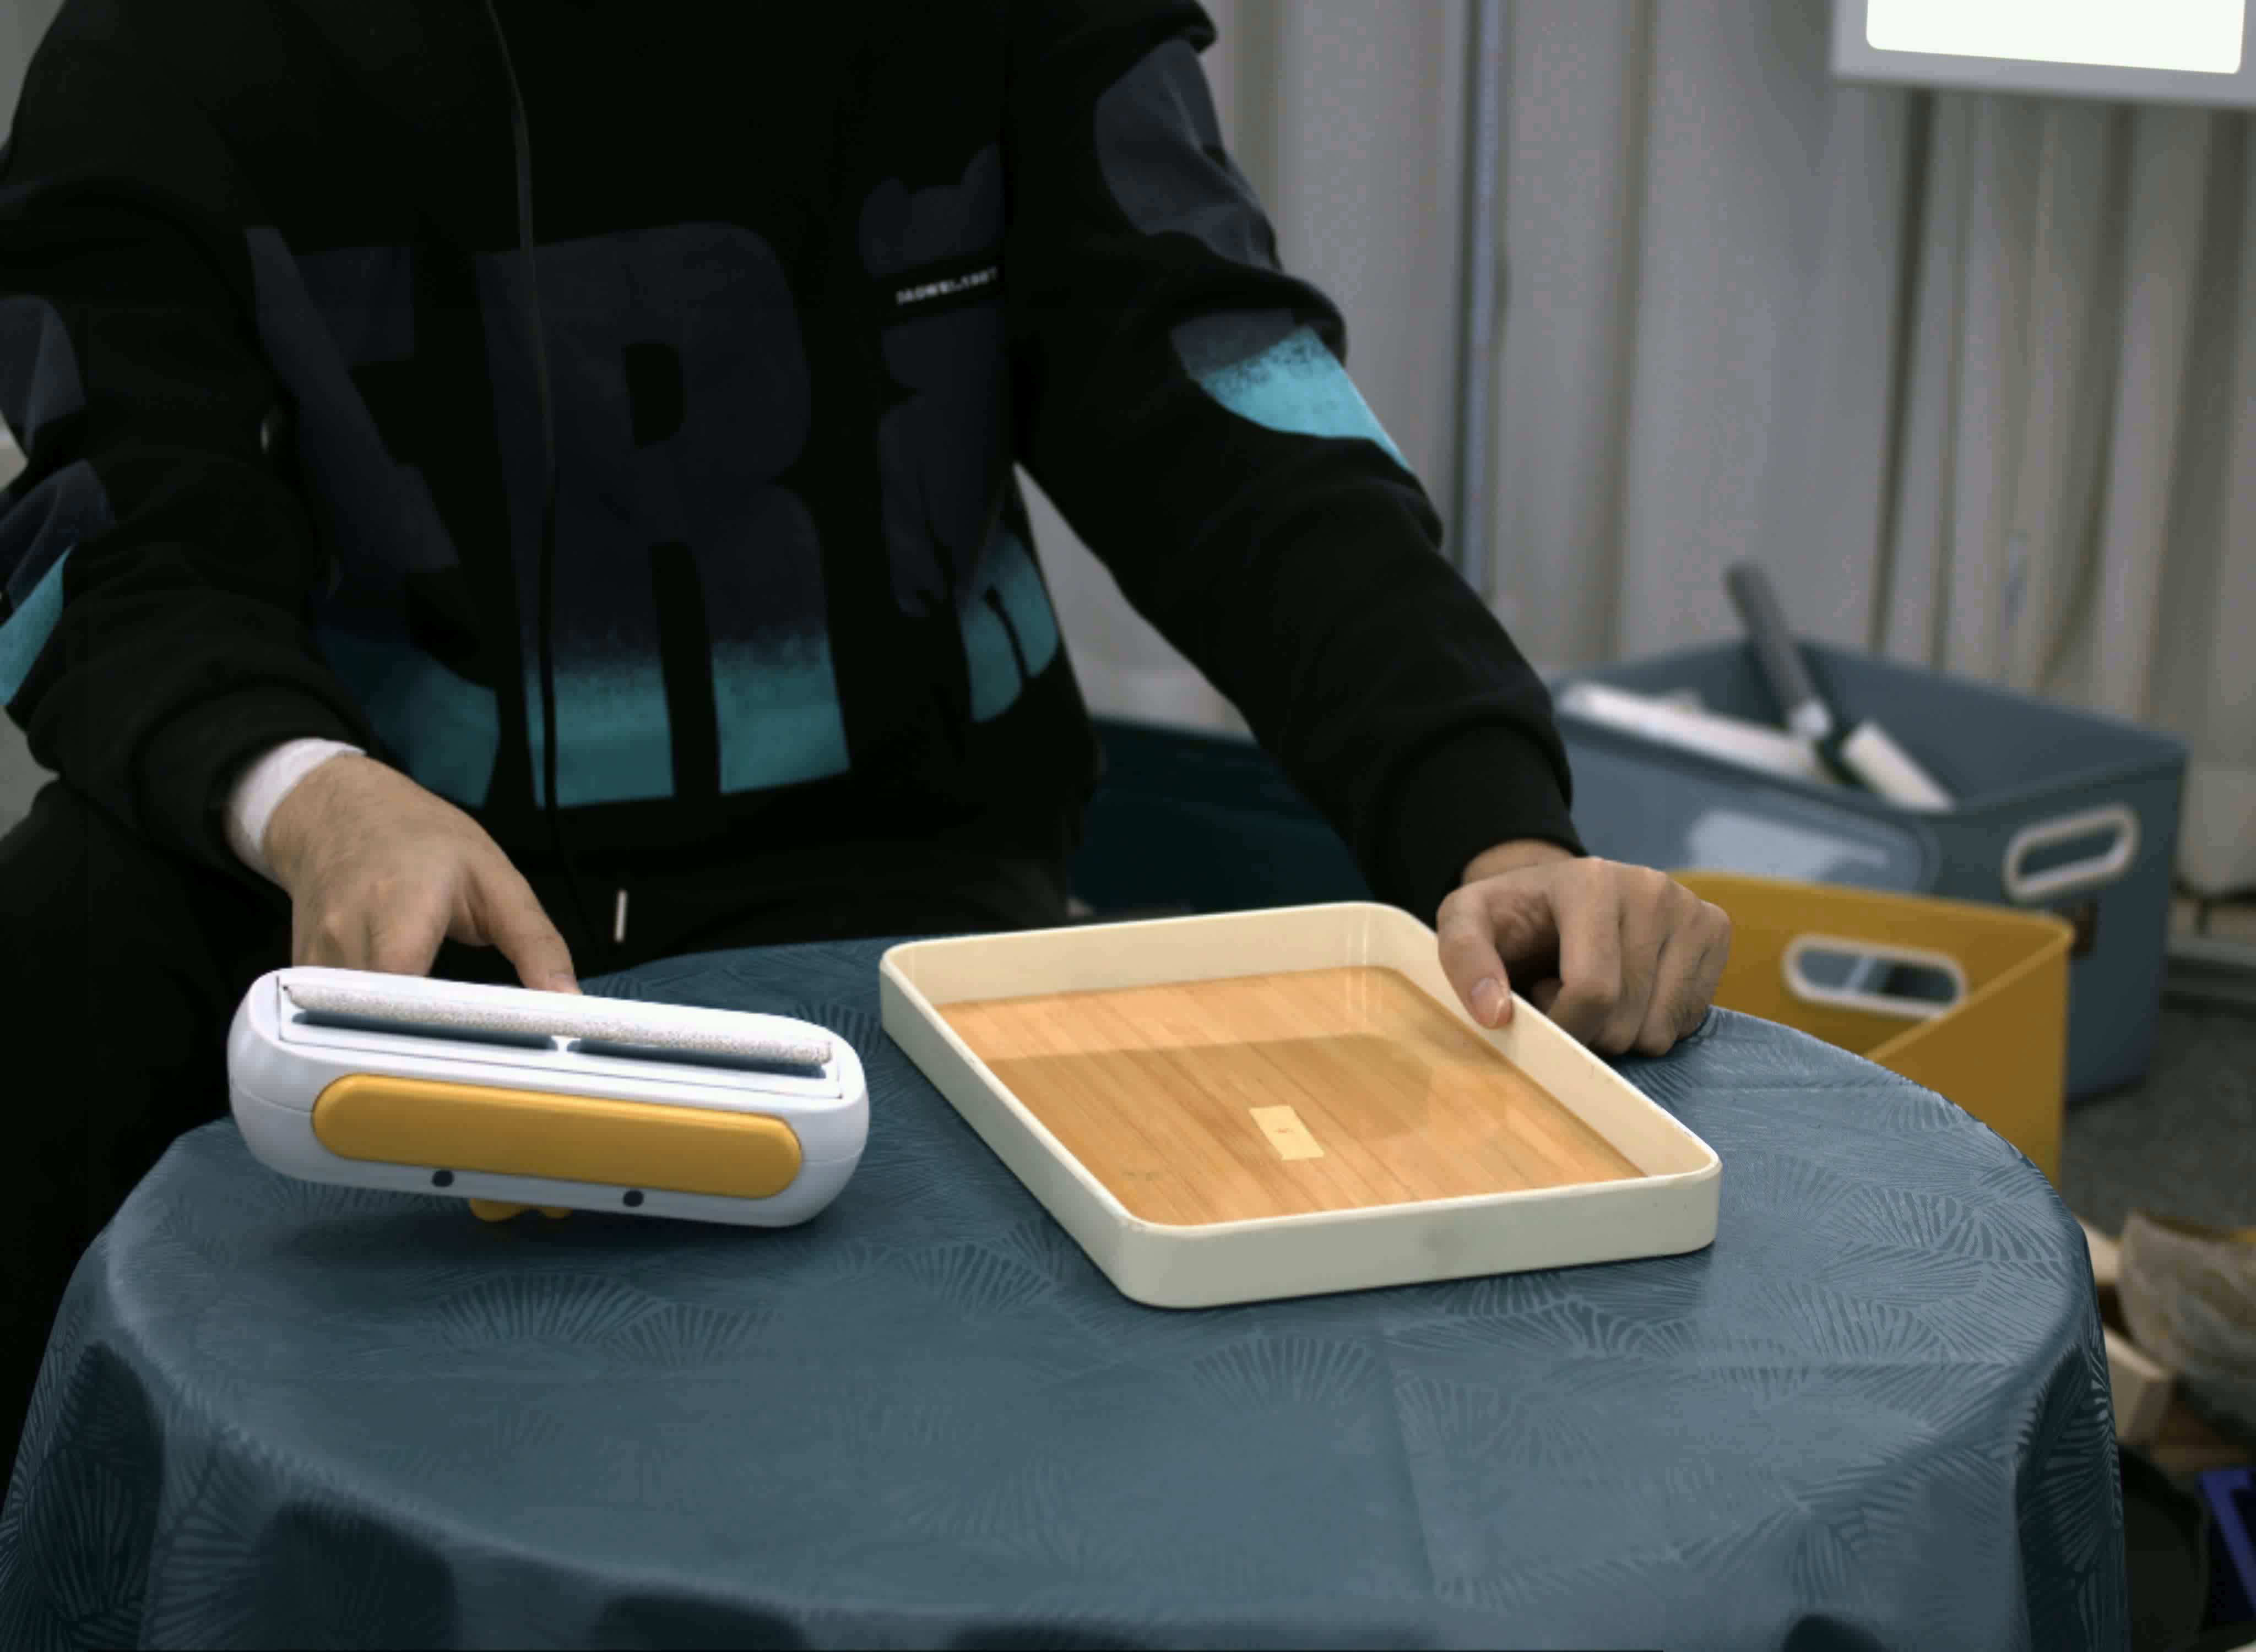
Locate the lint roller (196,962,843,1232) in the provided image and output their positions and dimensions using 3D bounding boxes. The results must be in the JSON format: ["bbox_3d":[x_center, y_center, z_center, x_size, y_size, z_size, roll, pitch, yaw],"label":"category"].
[{"bbox_3d":[-0.189,0.070,1.628,0.193,0.075,0.191,3,16,-9],"label":"lint roller"}]

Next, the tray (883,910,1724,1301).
[{"bbox_3d":[0.048,0.084,1.673,0.192,0.027,0.297,-4,16,-17],"label":"tray"}]
